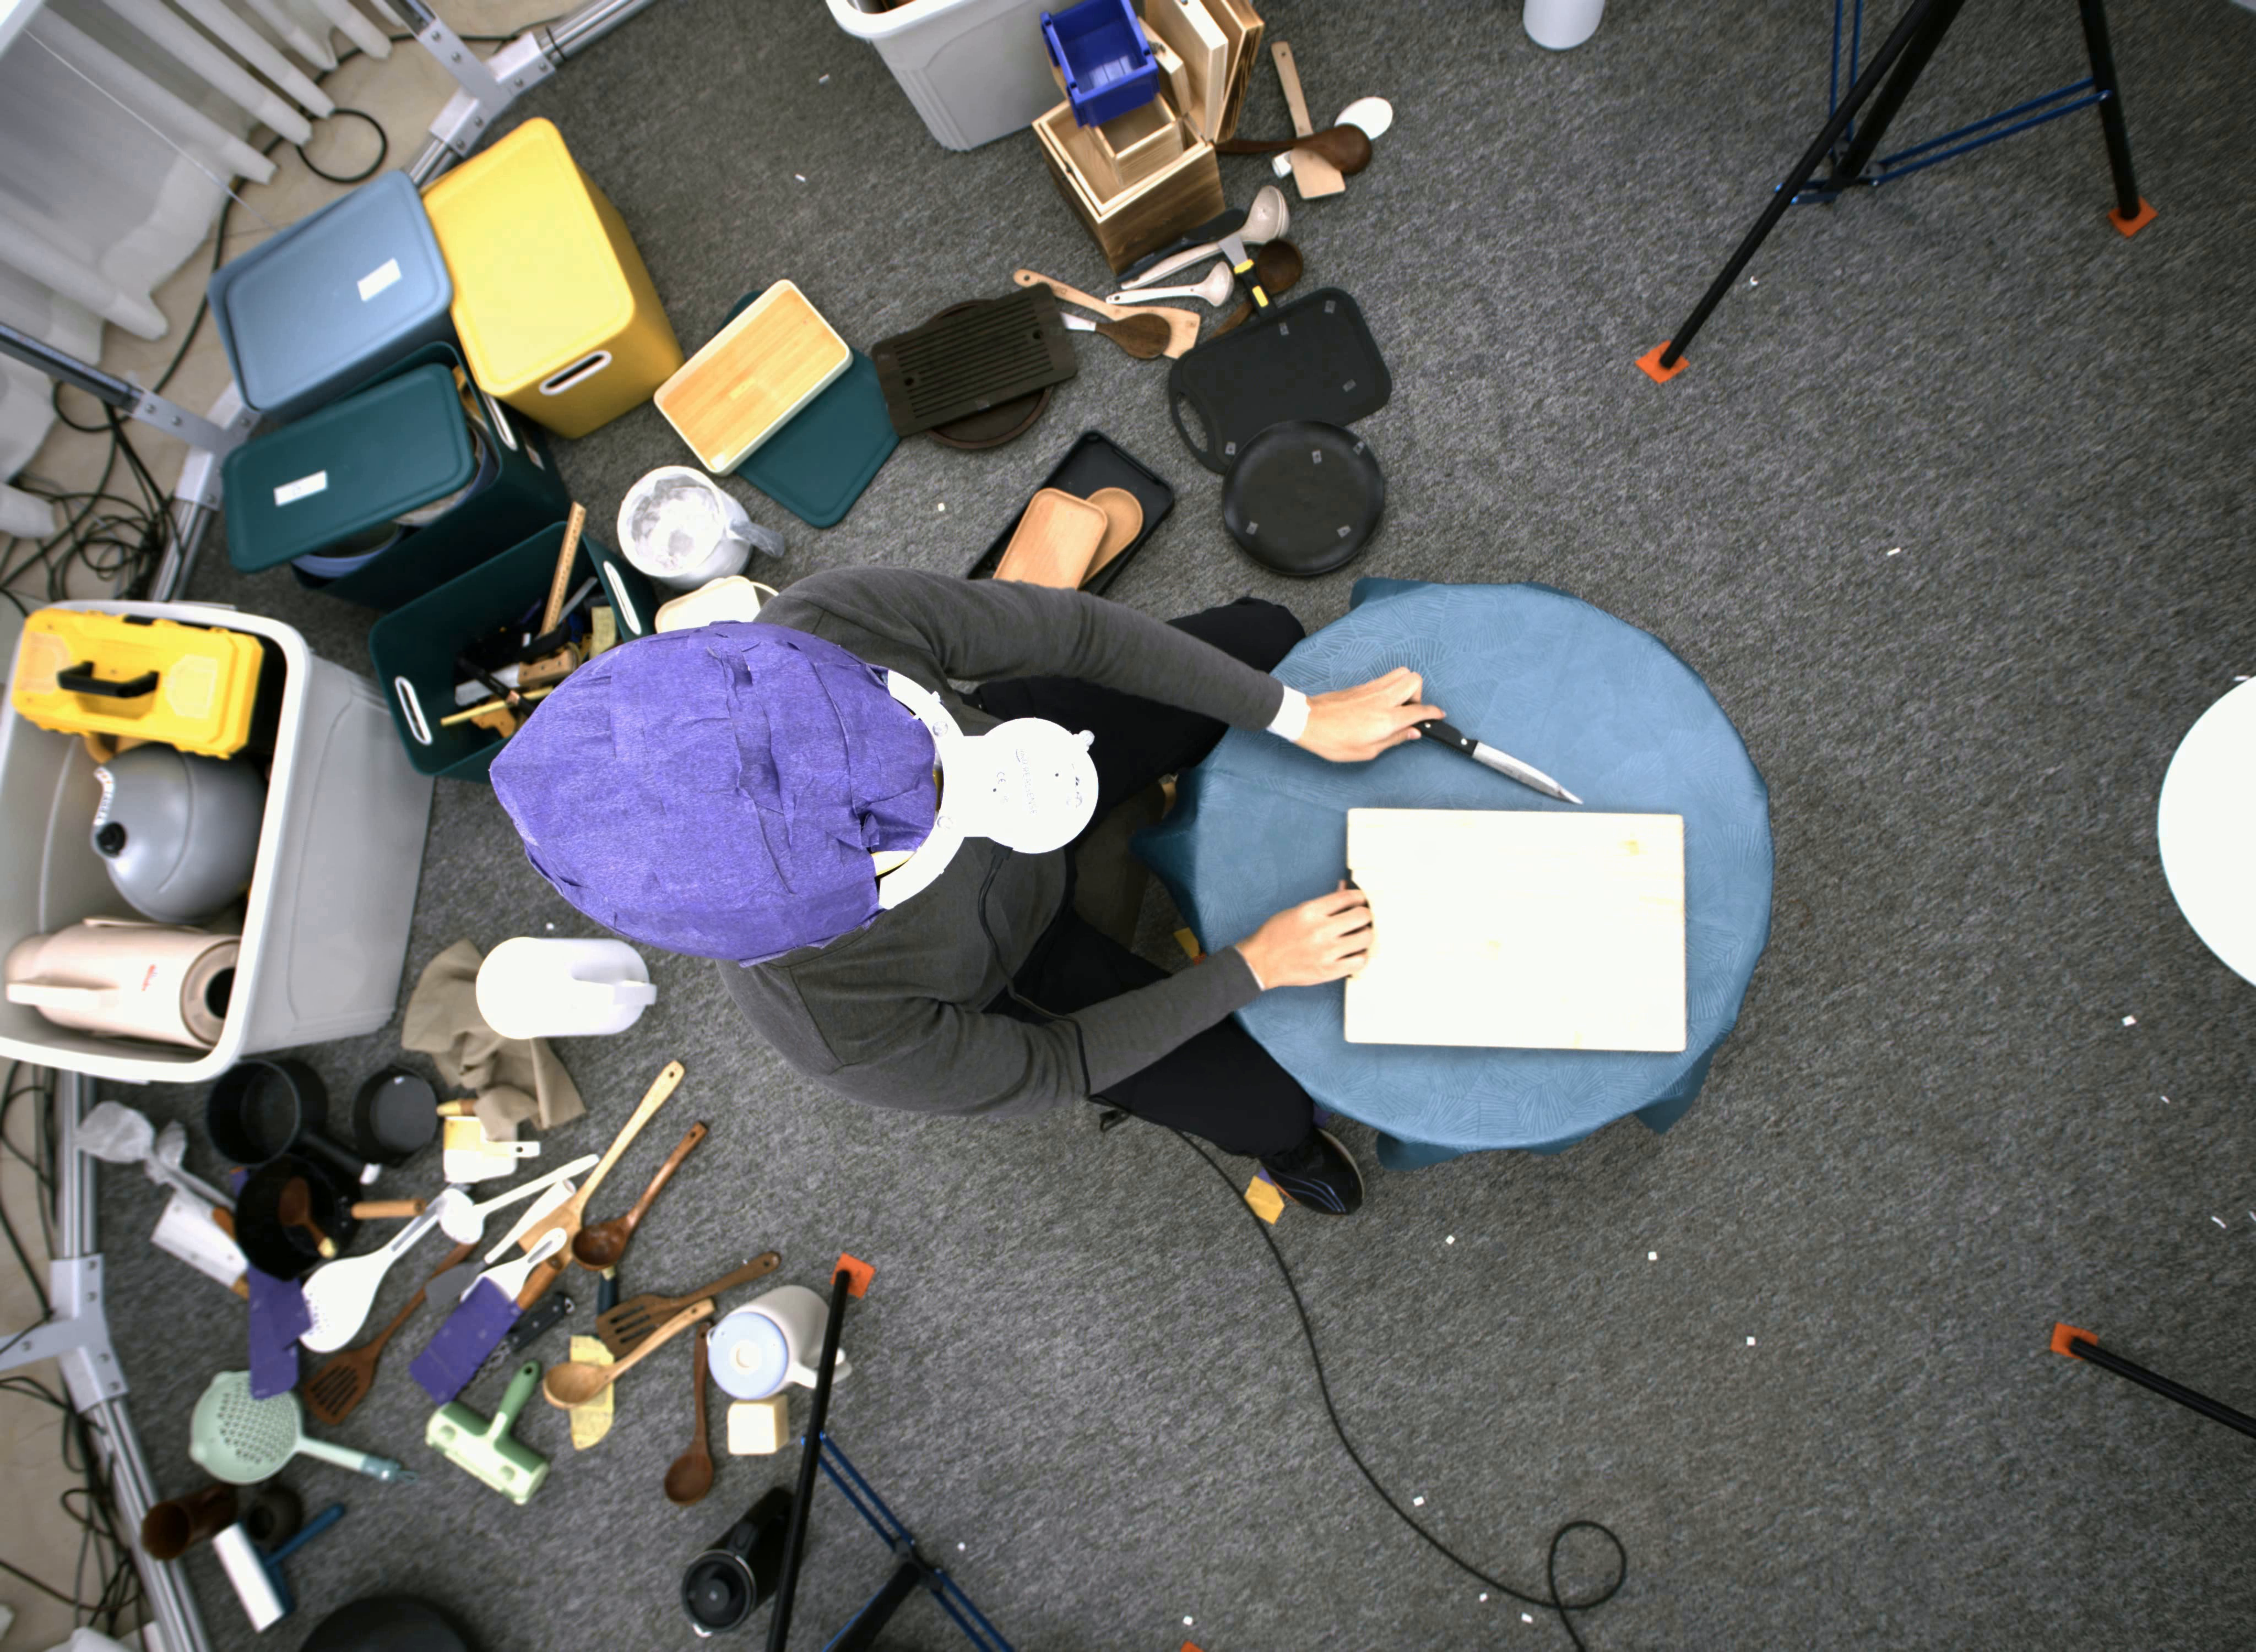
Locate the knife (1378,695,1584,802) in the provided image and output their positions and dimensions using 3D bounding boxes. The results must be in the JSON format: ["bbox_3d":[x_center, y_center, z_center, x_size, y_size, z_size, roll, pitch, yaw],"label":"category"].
[{"bbox_3d":[0.368,-0.079,1.436,0.238,0.016,0.024,26,75,4],"label":"knife"}]

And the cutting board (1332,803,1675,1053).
[{"bbox_3d":[0.385,0.101,1.411,0.349,0.023,0.249,0,86,5],"label":"cutting board"}]
